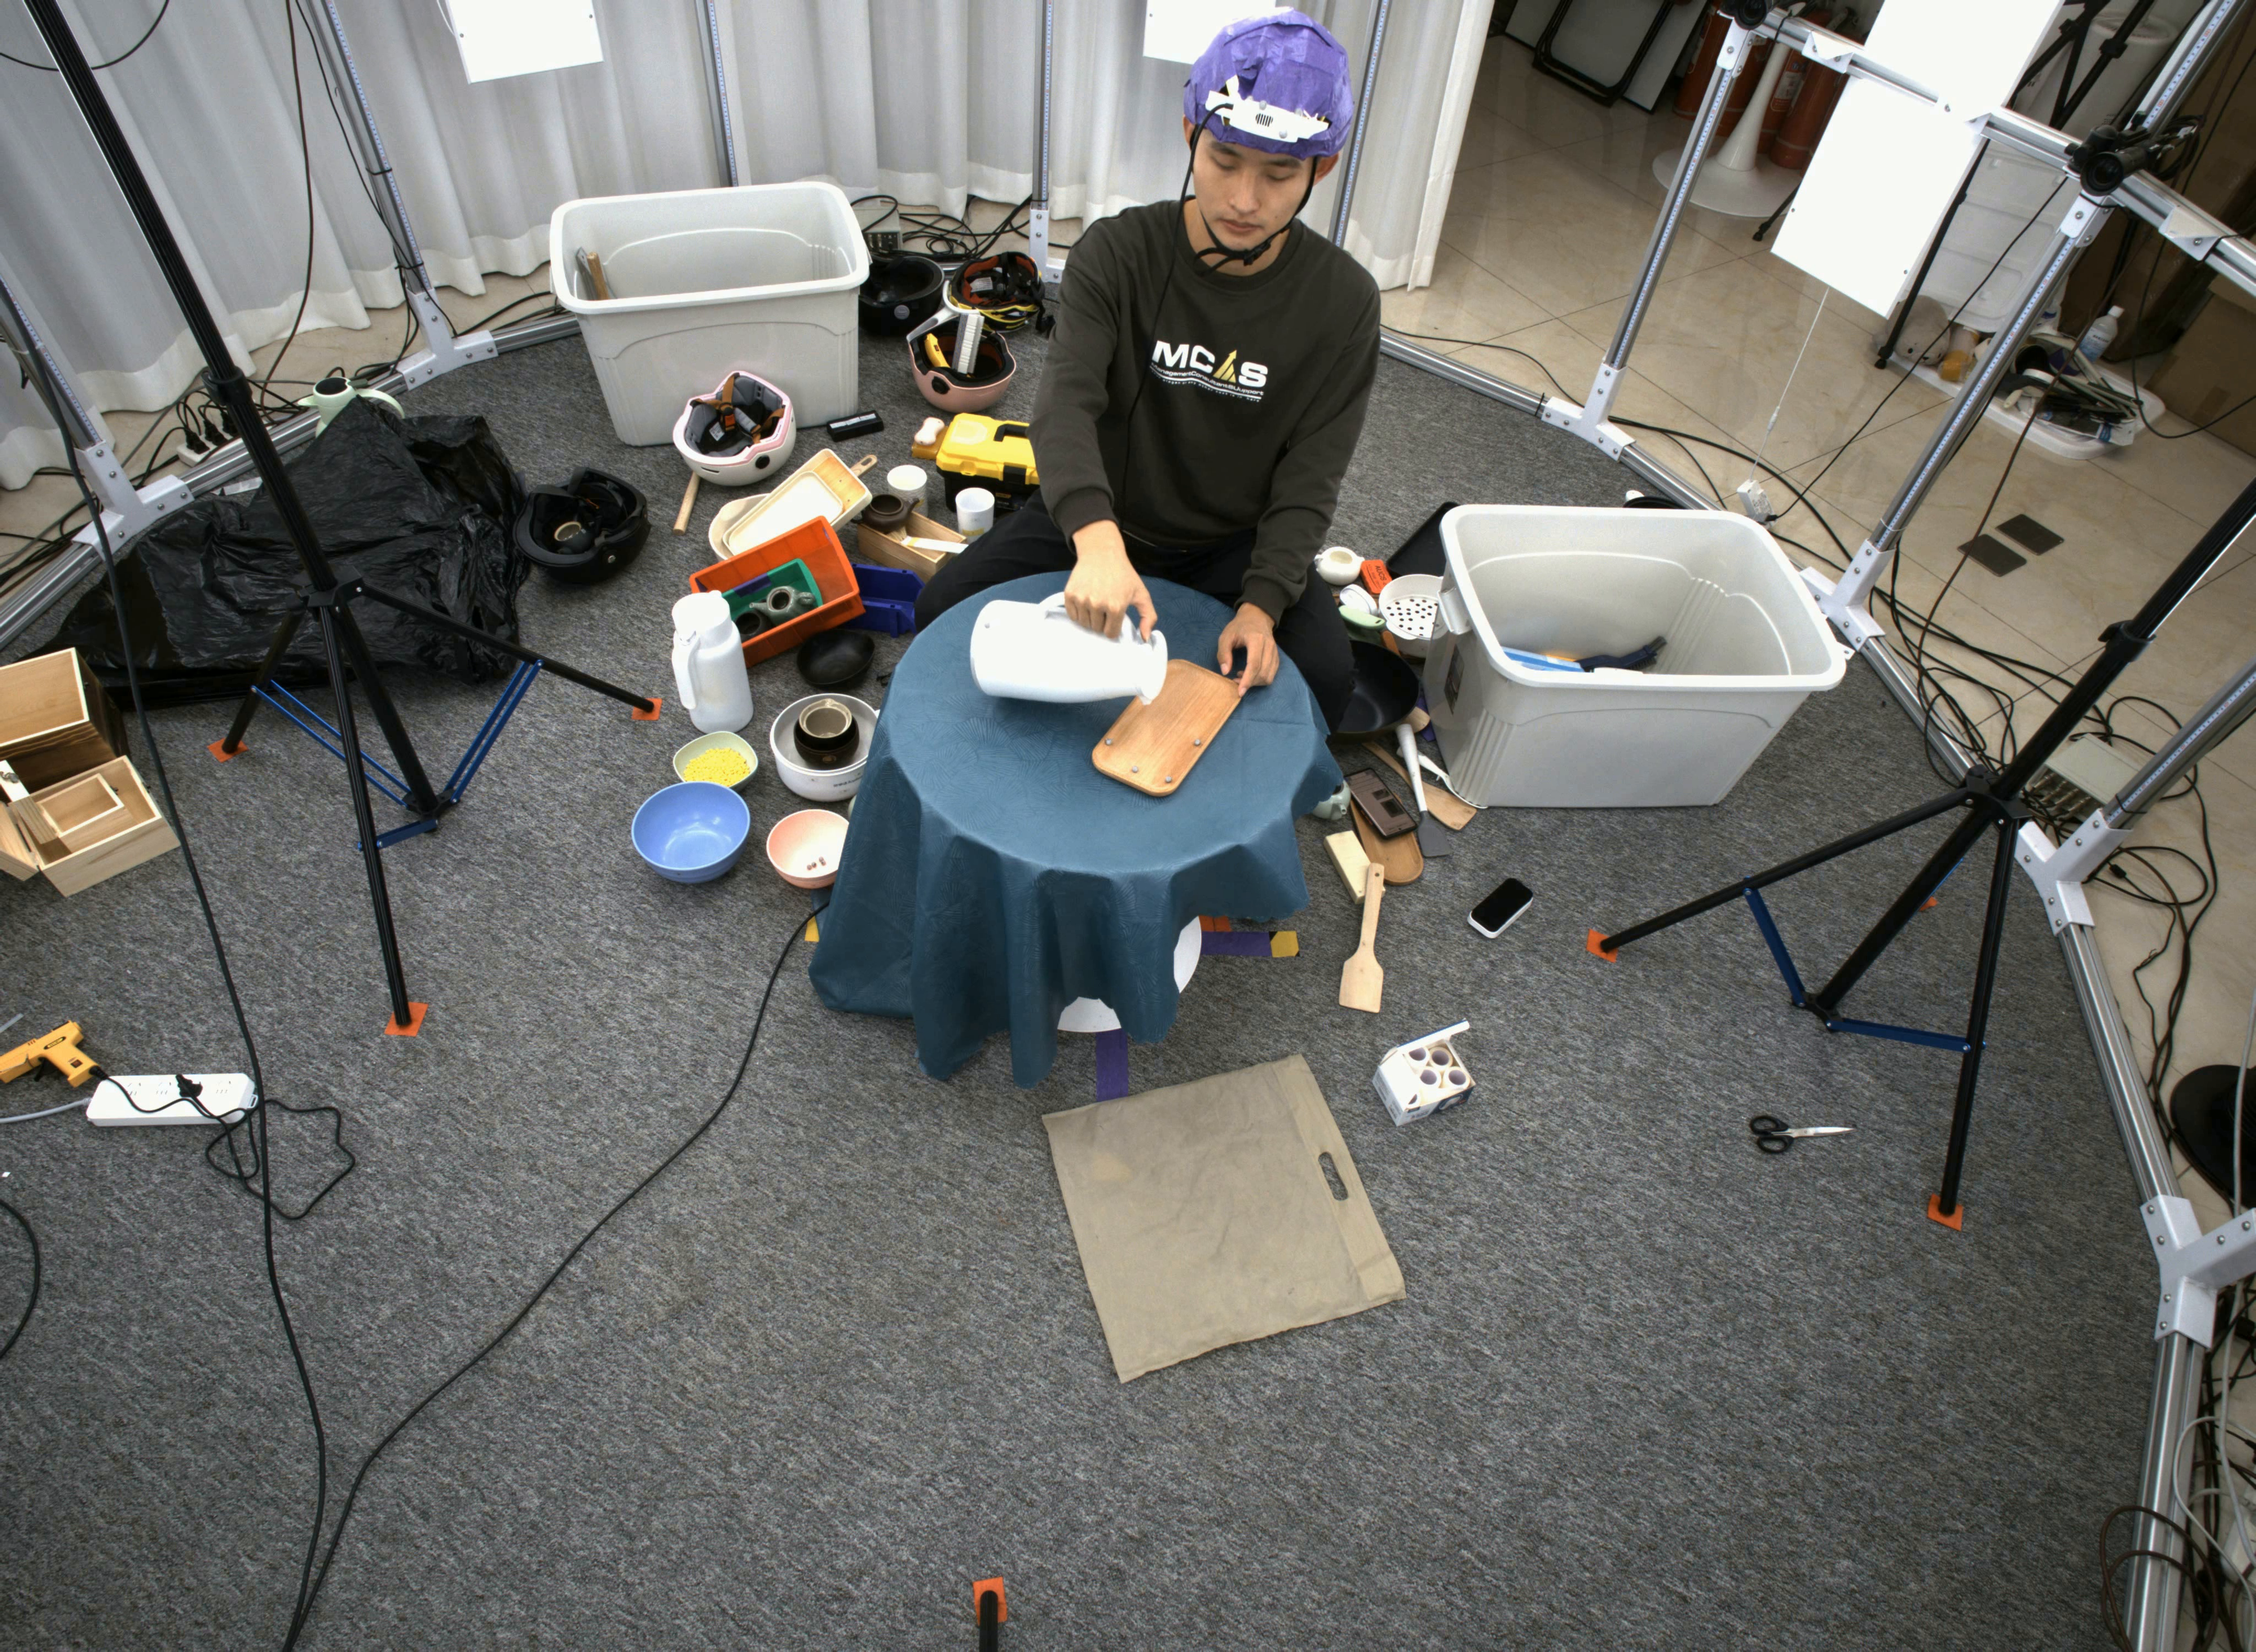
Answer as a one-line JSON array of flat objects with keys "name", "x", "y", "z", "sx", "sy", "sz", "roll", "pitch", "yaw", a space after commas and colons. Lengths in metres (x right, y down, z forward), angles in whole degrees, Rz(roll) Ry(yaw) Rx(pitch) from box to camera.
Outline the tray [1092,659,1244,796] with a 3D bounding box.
[{"name": "tray", "x": 0.058, "y": -0.140, "z": 1.780, "sx": 0.131, "sy": 0.022, "sz": 0.254, "roll": 27, "pitch": 51, "yaw": 15}]

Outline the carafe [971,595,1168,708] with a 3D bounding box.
[{"name": "carafe", "x": -0.074, "y": -0.238, "z": 1.714, "sx": 0.250, "sy": 0.163, "sz": 0.135, "roll": 12, "pitch": 51, "yaw": 23}]
